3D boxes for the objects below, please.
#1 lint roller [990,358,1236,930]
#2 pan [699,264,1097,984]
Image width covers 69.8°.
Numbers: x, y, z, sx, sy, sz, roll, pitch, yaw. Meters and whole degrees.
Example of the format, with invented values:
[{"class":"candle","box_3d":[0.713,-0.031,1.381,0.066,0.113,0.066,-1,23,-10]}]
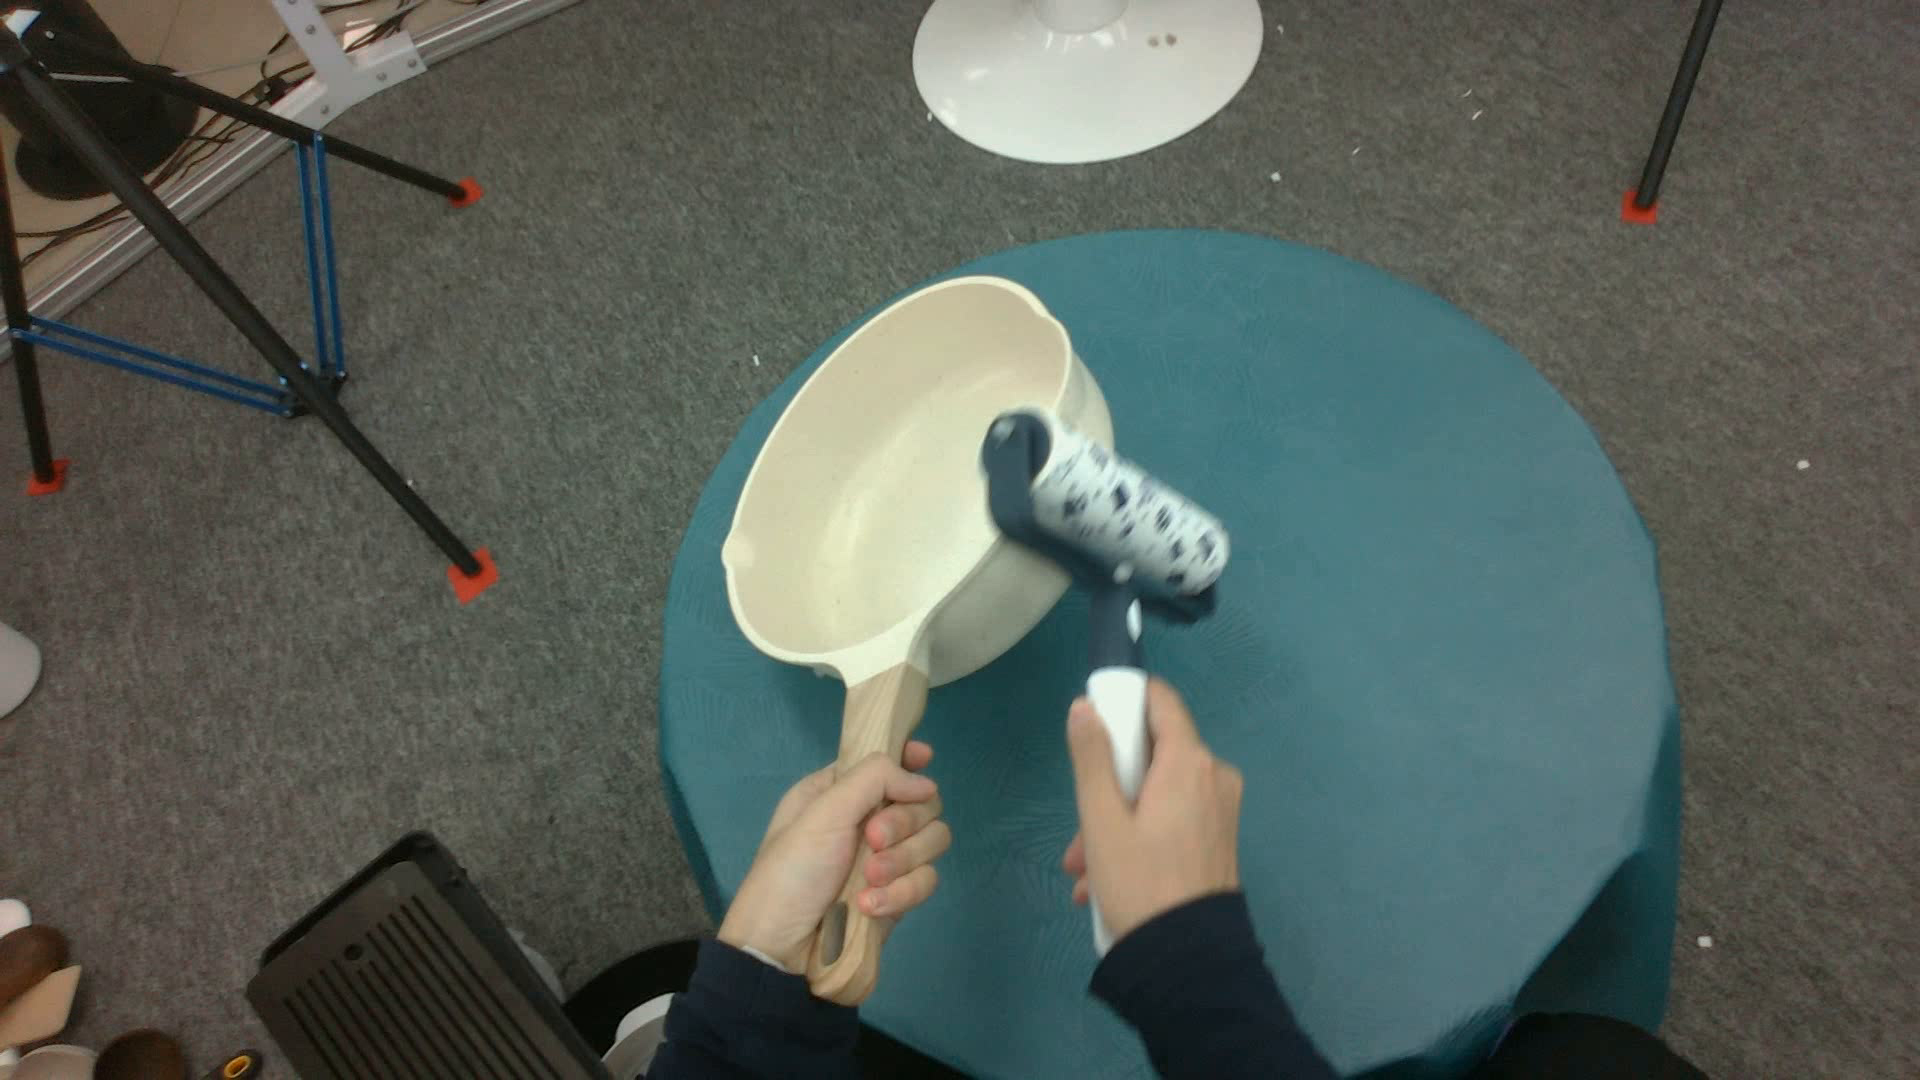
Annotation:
[{"class":"lint roller","box_3d":[0.077,0.055,0.649,0.050,0.176,0.248,-15,64,36]},{"class":"pan","box_3d":[-0.030,0.034,0.729,0.262,0.102,0.437,-26,44,26]}]
